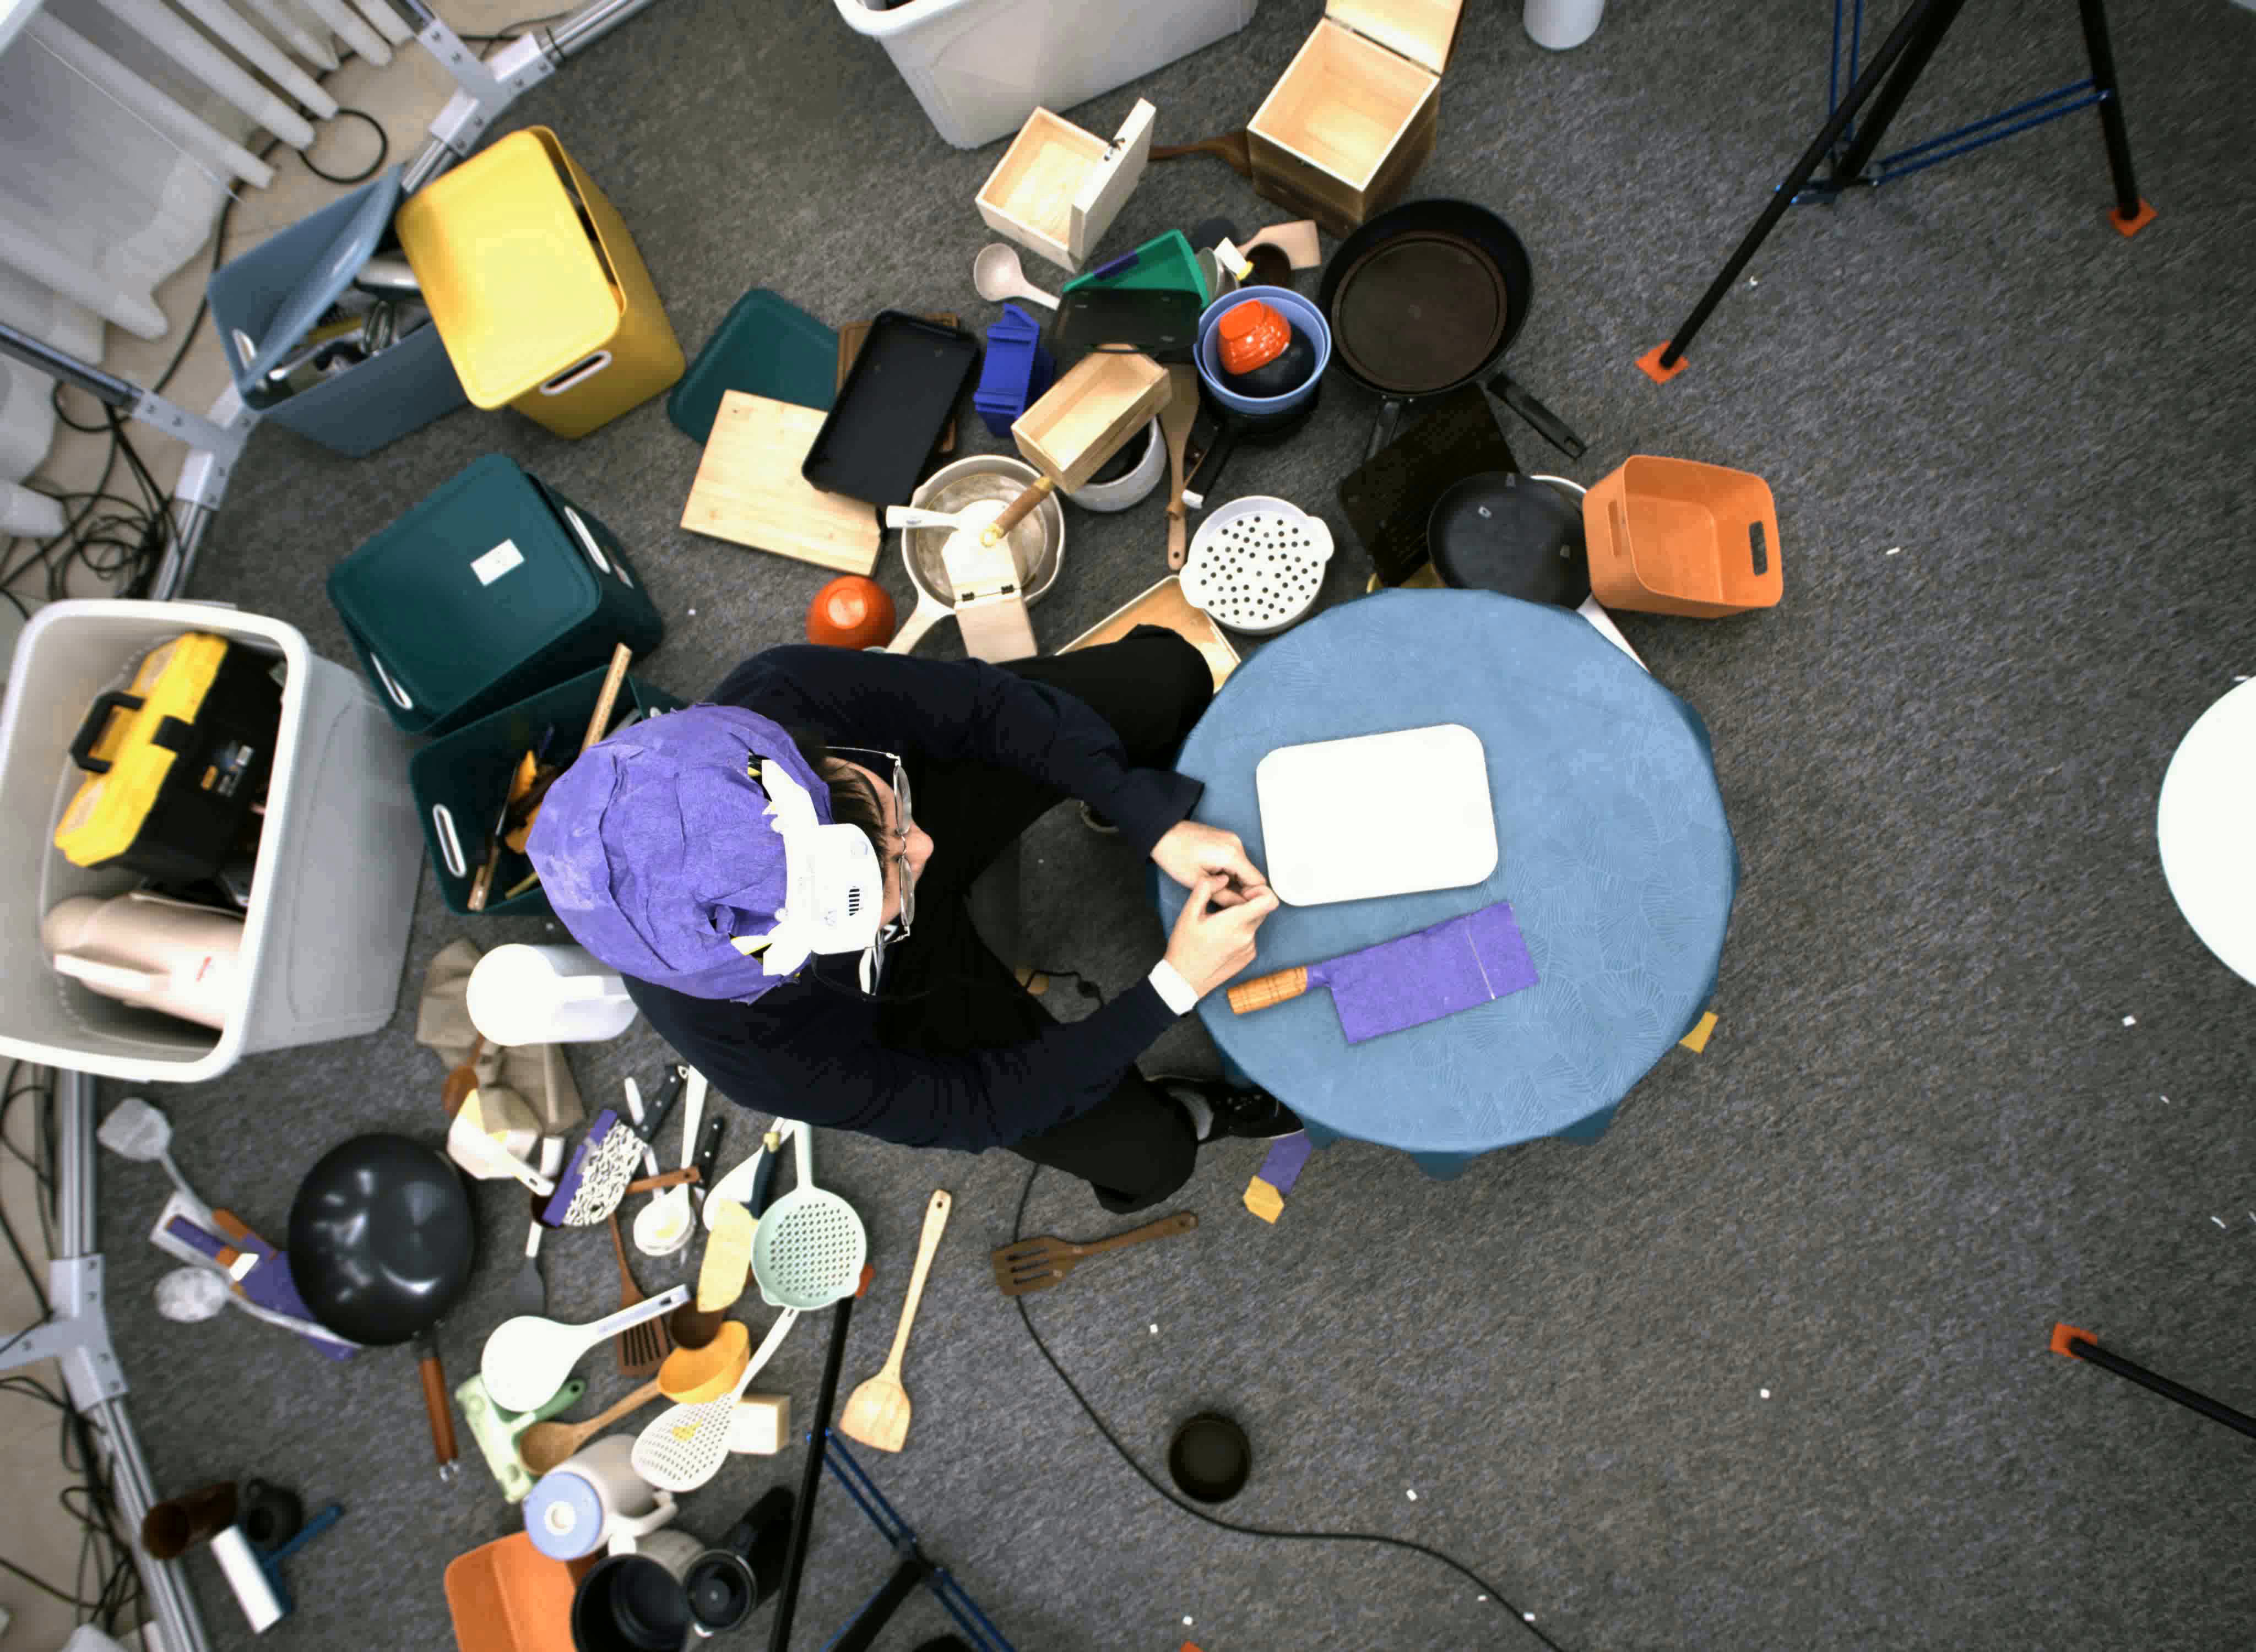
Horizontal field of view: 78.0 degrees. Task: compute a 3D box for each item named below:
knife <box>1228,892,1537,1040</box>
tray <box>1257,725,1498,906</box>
[{"bbox_3d":[0.266,0.165,1.442,0.317,0.032,0.103,-20,83,9],"label":"knife"},{"bbox_3d":[0.262,-0.012,1.457,0.241,0.017,0.170,-8,86,10],"label":"tray"}]
